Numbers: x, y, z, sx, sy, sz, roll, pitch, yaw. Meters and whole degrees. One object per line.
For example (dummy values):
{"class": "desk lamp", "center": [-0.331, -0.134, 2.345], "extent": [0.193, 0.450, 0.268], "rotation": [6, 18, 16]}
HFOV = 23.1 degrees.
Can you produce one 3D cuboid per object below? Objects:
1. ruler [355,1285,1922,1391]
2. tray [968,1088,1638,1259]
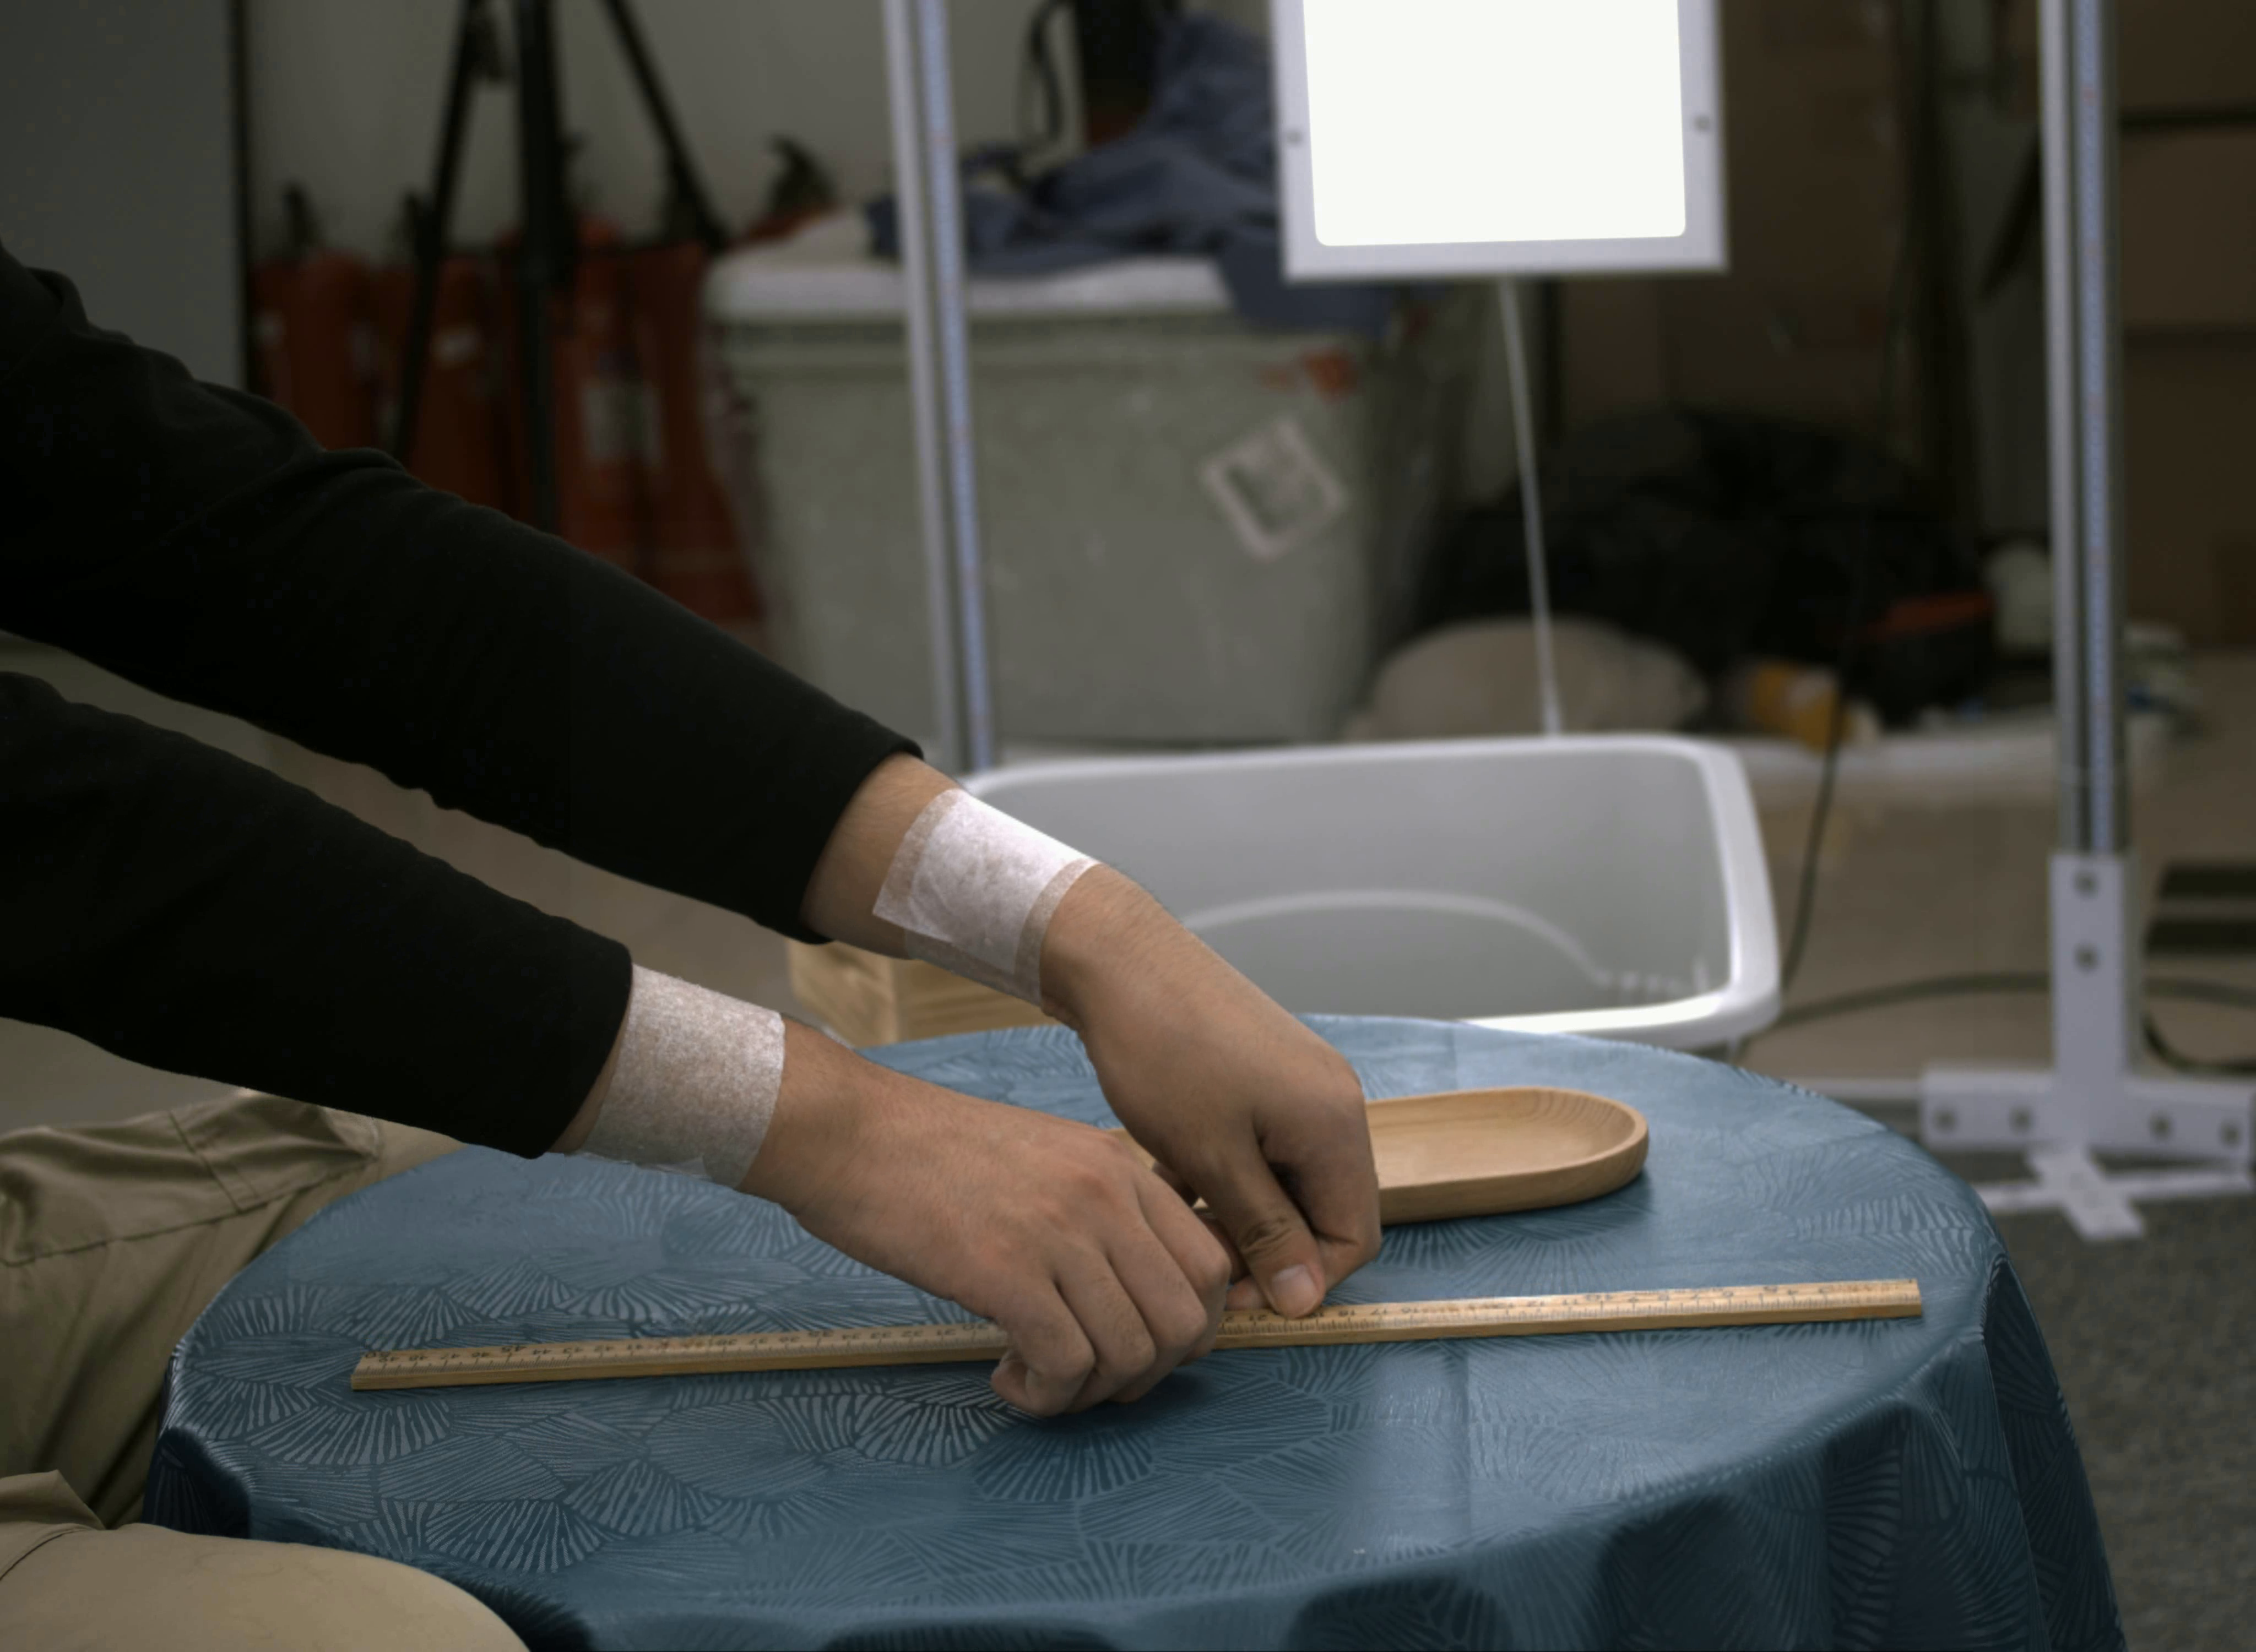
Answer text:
{"class": "ruler", "center": [0.001, 0.162, 1.746], "extent": [0.502, 0.006, 0.026], "rotation": [-3, 9, 8]}
{"class": "tray", "center": [0.061, 0.119, 1.874], "extent": [0.229, 0.020, 0.102], "rotation": [-8, 12, -5]}
